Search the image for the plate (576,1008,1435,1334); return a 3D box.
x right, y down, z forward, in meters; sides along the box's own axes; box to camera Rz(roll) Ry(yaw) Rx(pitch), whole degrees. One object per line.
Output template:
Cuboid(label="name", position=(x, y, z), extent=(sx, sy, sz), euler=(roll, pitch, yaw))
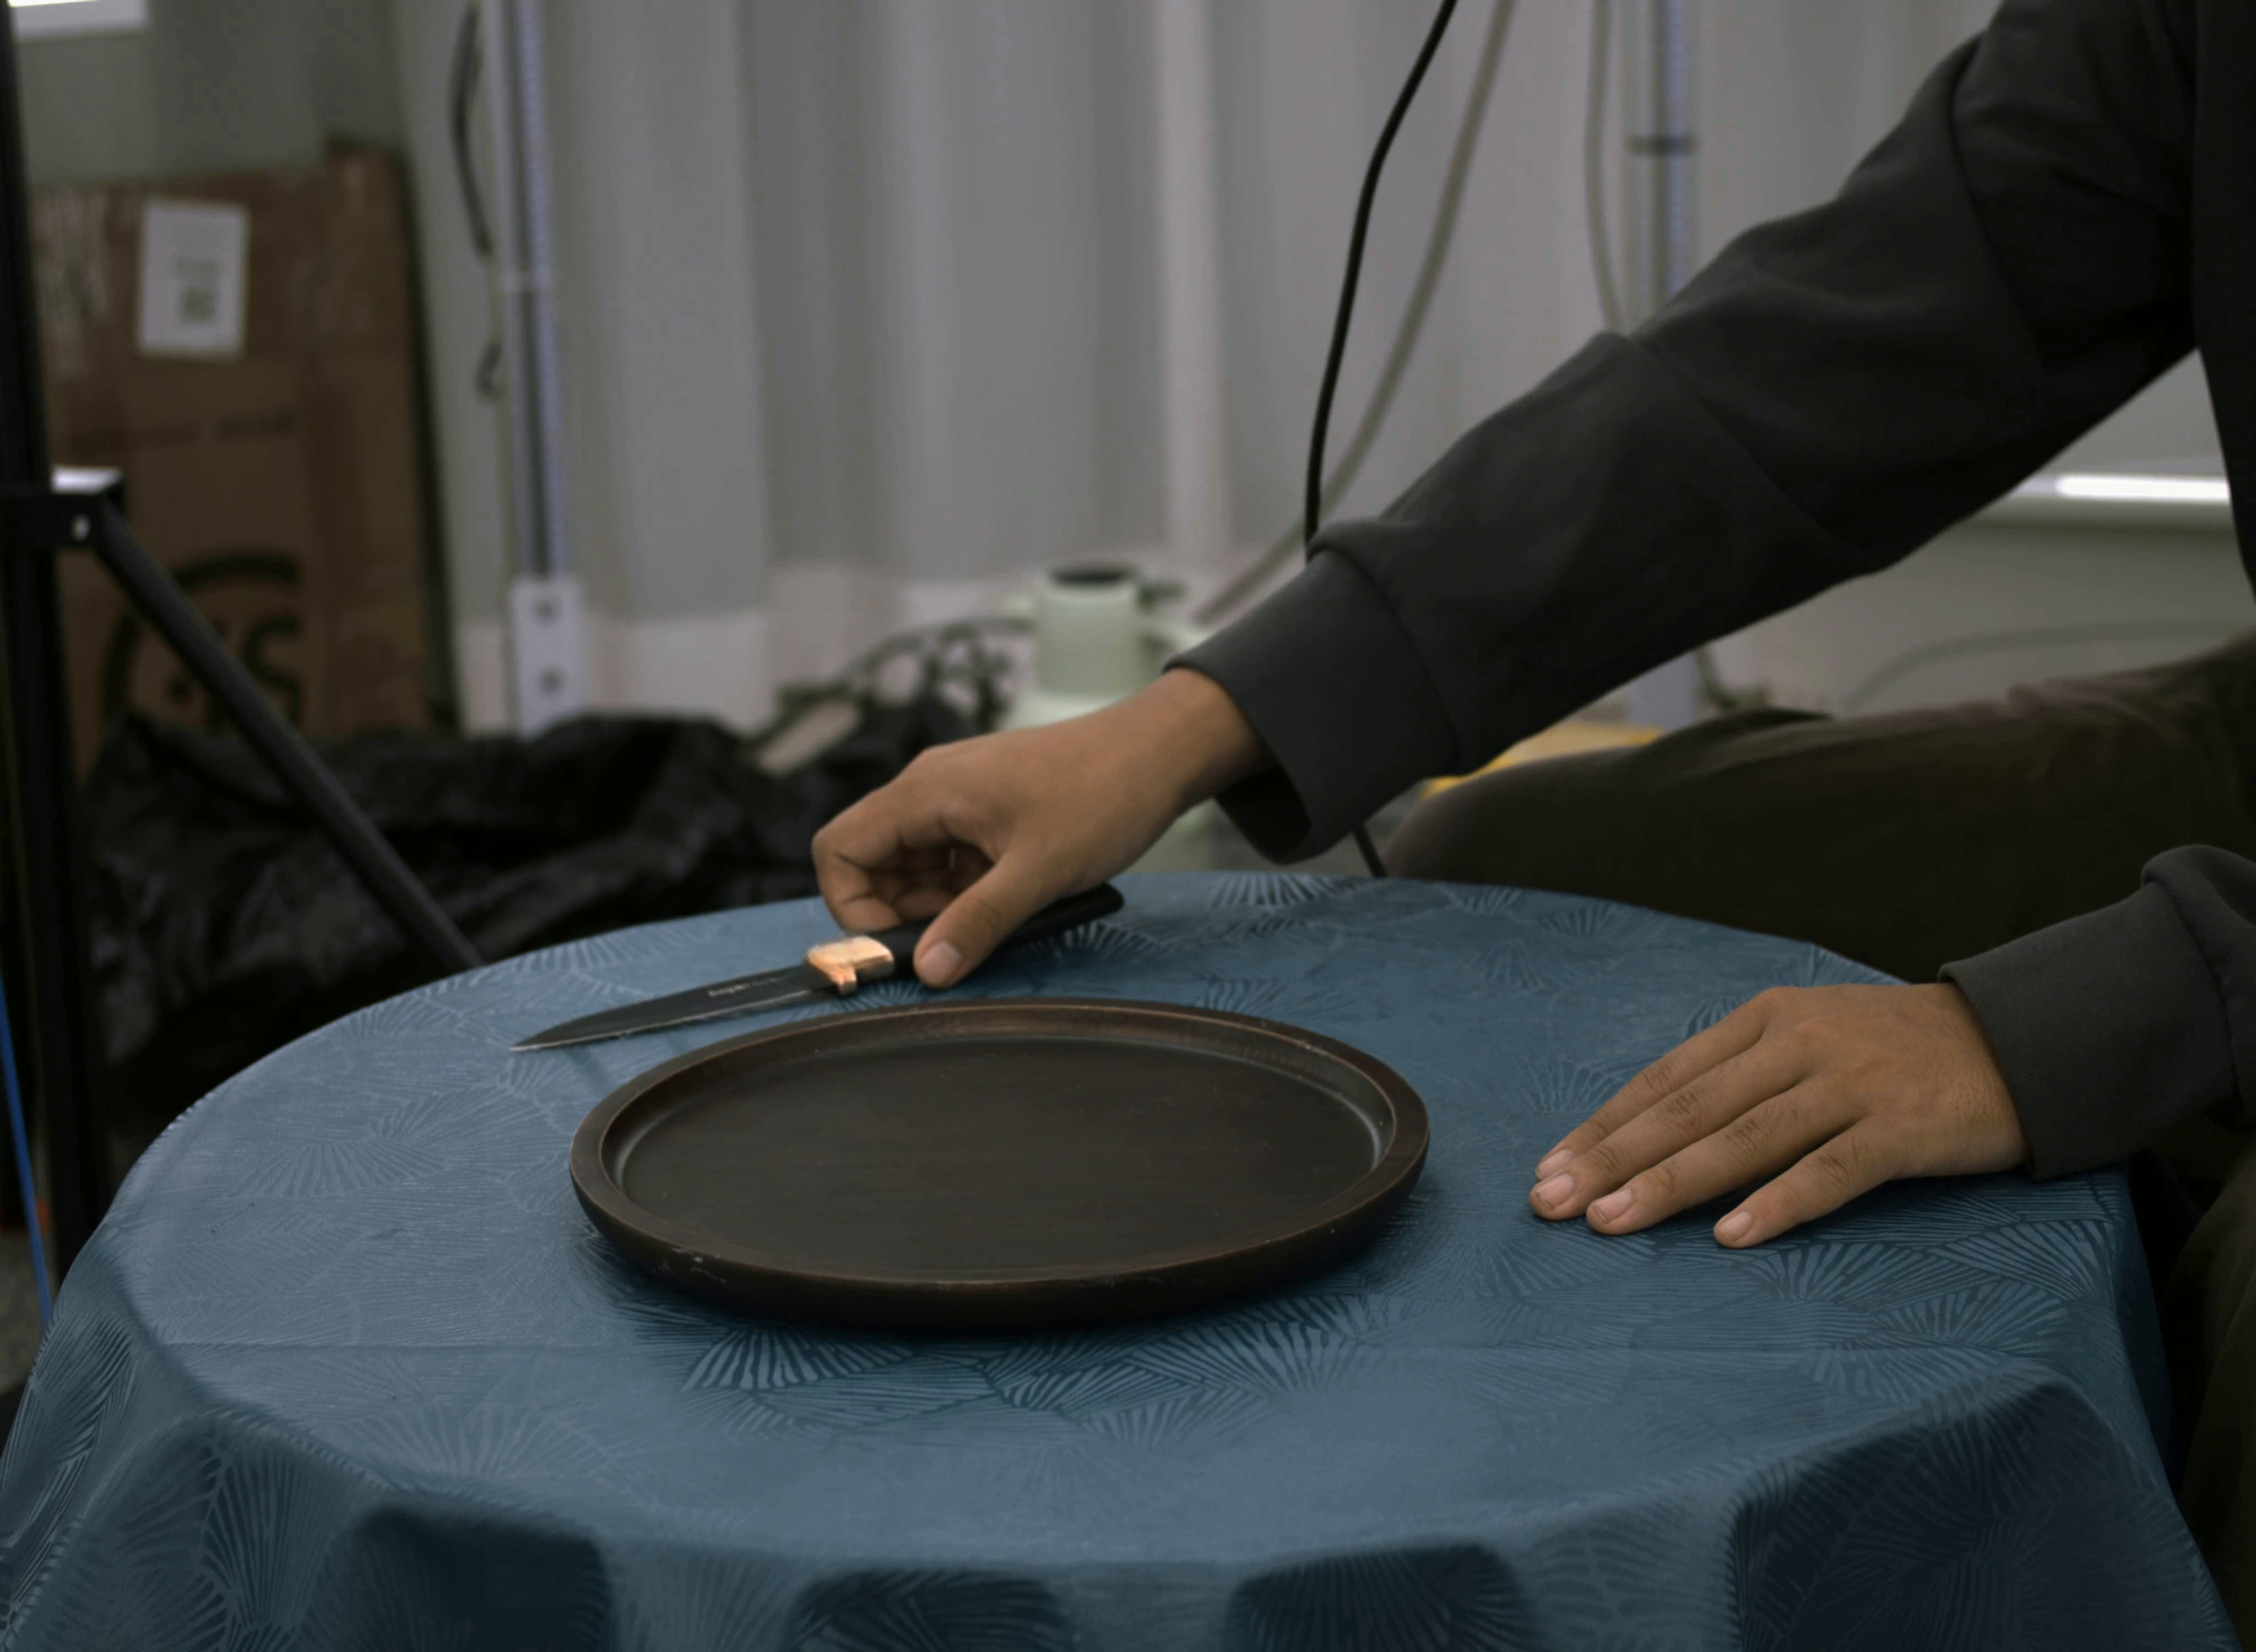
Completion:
Cuboid(label="plate", position=(-0.035, 0.098, 1.555), extent=(0.253, 0.029, 0.256), euler=(-2, 14, -1))

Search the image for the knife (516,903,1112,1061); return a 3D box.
Cuboid(label="knife", position=(-0.101, 0.052, 1.752), extent=(0.221, 0.017, 0.027), euler=(-12, 24, -27))
